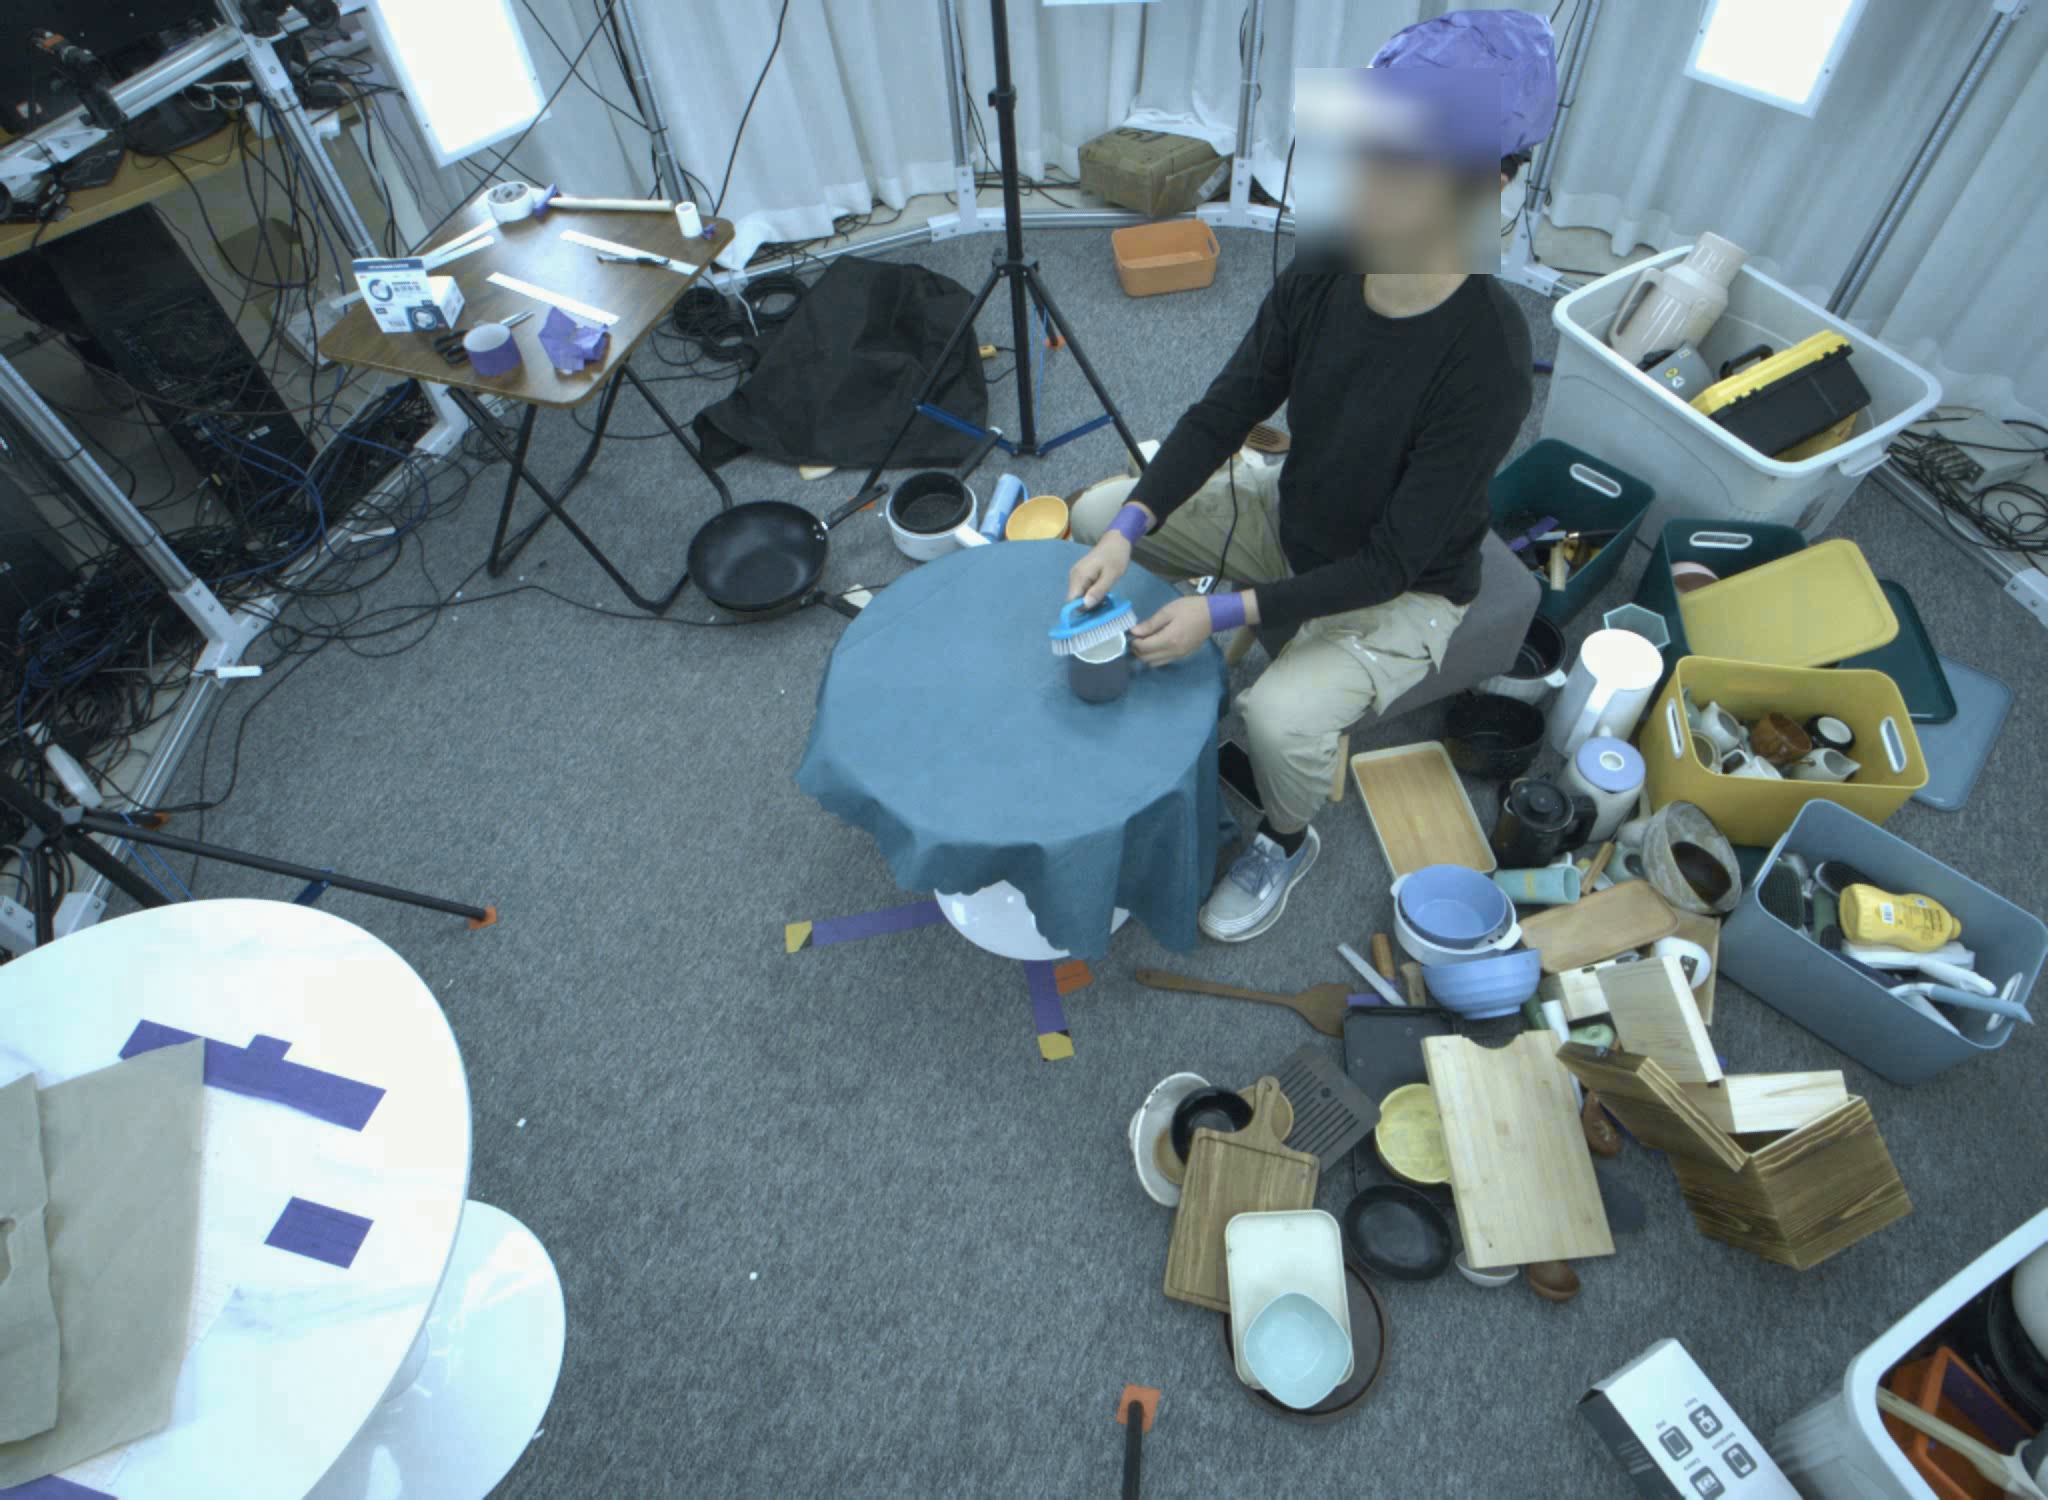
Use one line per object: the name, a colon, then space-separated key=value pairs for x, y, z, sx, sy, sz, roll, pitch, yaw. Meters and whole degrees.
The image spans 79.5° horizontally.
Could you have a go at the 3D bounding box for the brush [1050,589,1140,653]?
brush: x=0.097 y=-0.196 z=1.805 sx=0.143 sy=0.064 sz=0.083 roll=-26 pitch=17 yaw=-19

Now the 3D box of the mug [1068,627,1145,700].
mug: x=0.123 y=-0.138 z=1.825 sx=0.124 sy=0.091 sz=0.092 roll=-25 pitch=58 yaw=-12
